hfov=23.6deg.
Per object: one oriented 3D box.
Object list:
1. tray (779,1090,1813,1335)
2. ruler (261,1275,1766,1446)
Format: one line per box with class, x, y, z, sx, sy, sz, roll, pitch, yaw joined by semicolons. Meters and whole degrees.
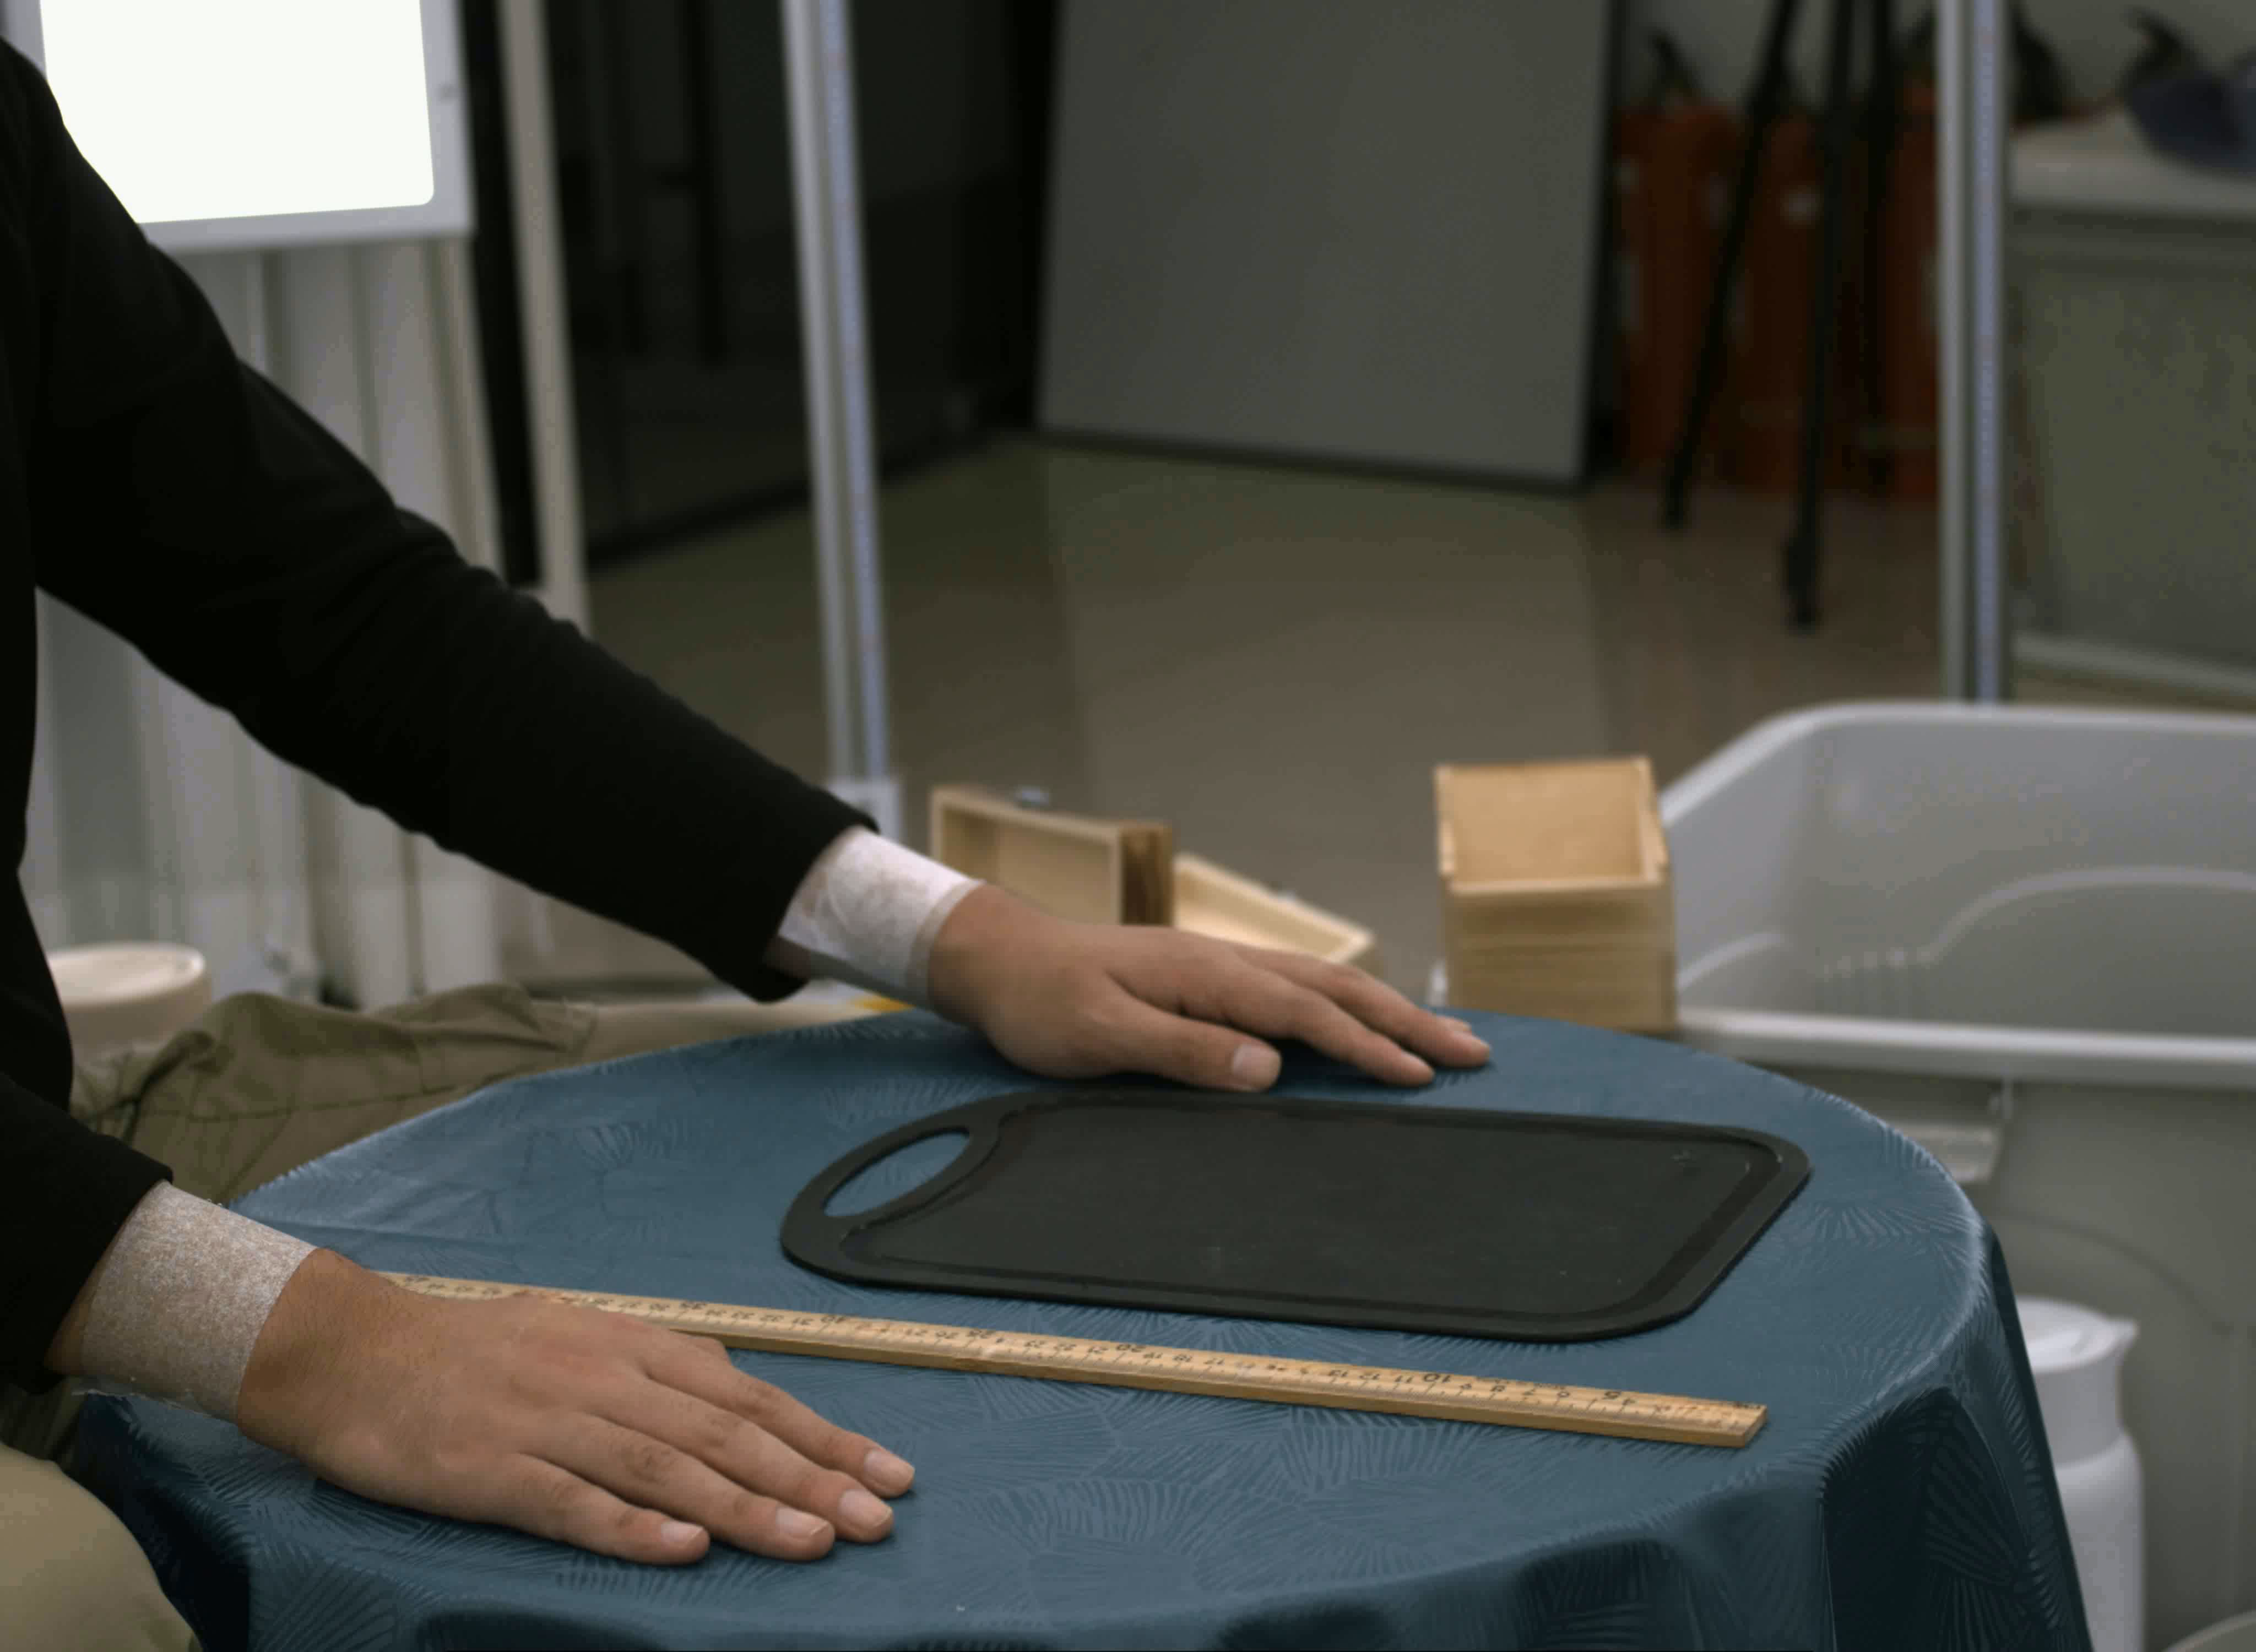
tray;0.048;0.121;1.742;0.326;0.010;0.208;2;15;25
ruler;-0.047;0.158;1.623;0.501;0.006;0.026;3;14;26
